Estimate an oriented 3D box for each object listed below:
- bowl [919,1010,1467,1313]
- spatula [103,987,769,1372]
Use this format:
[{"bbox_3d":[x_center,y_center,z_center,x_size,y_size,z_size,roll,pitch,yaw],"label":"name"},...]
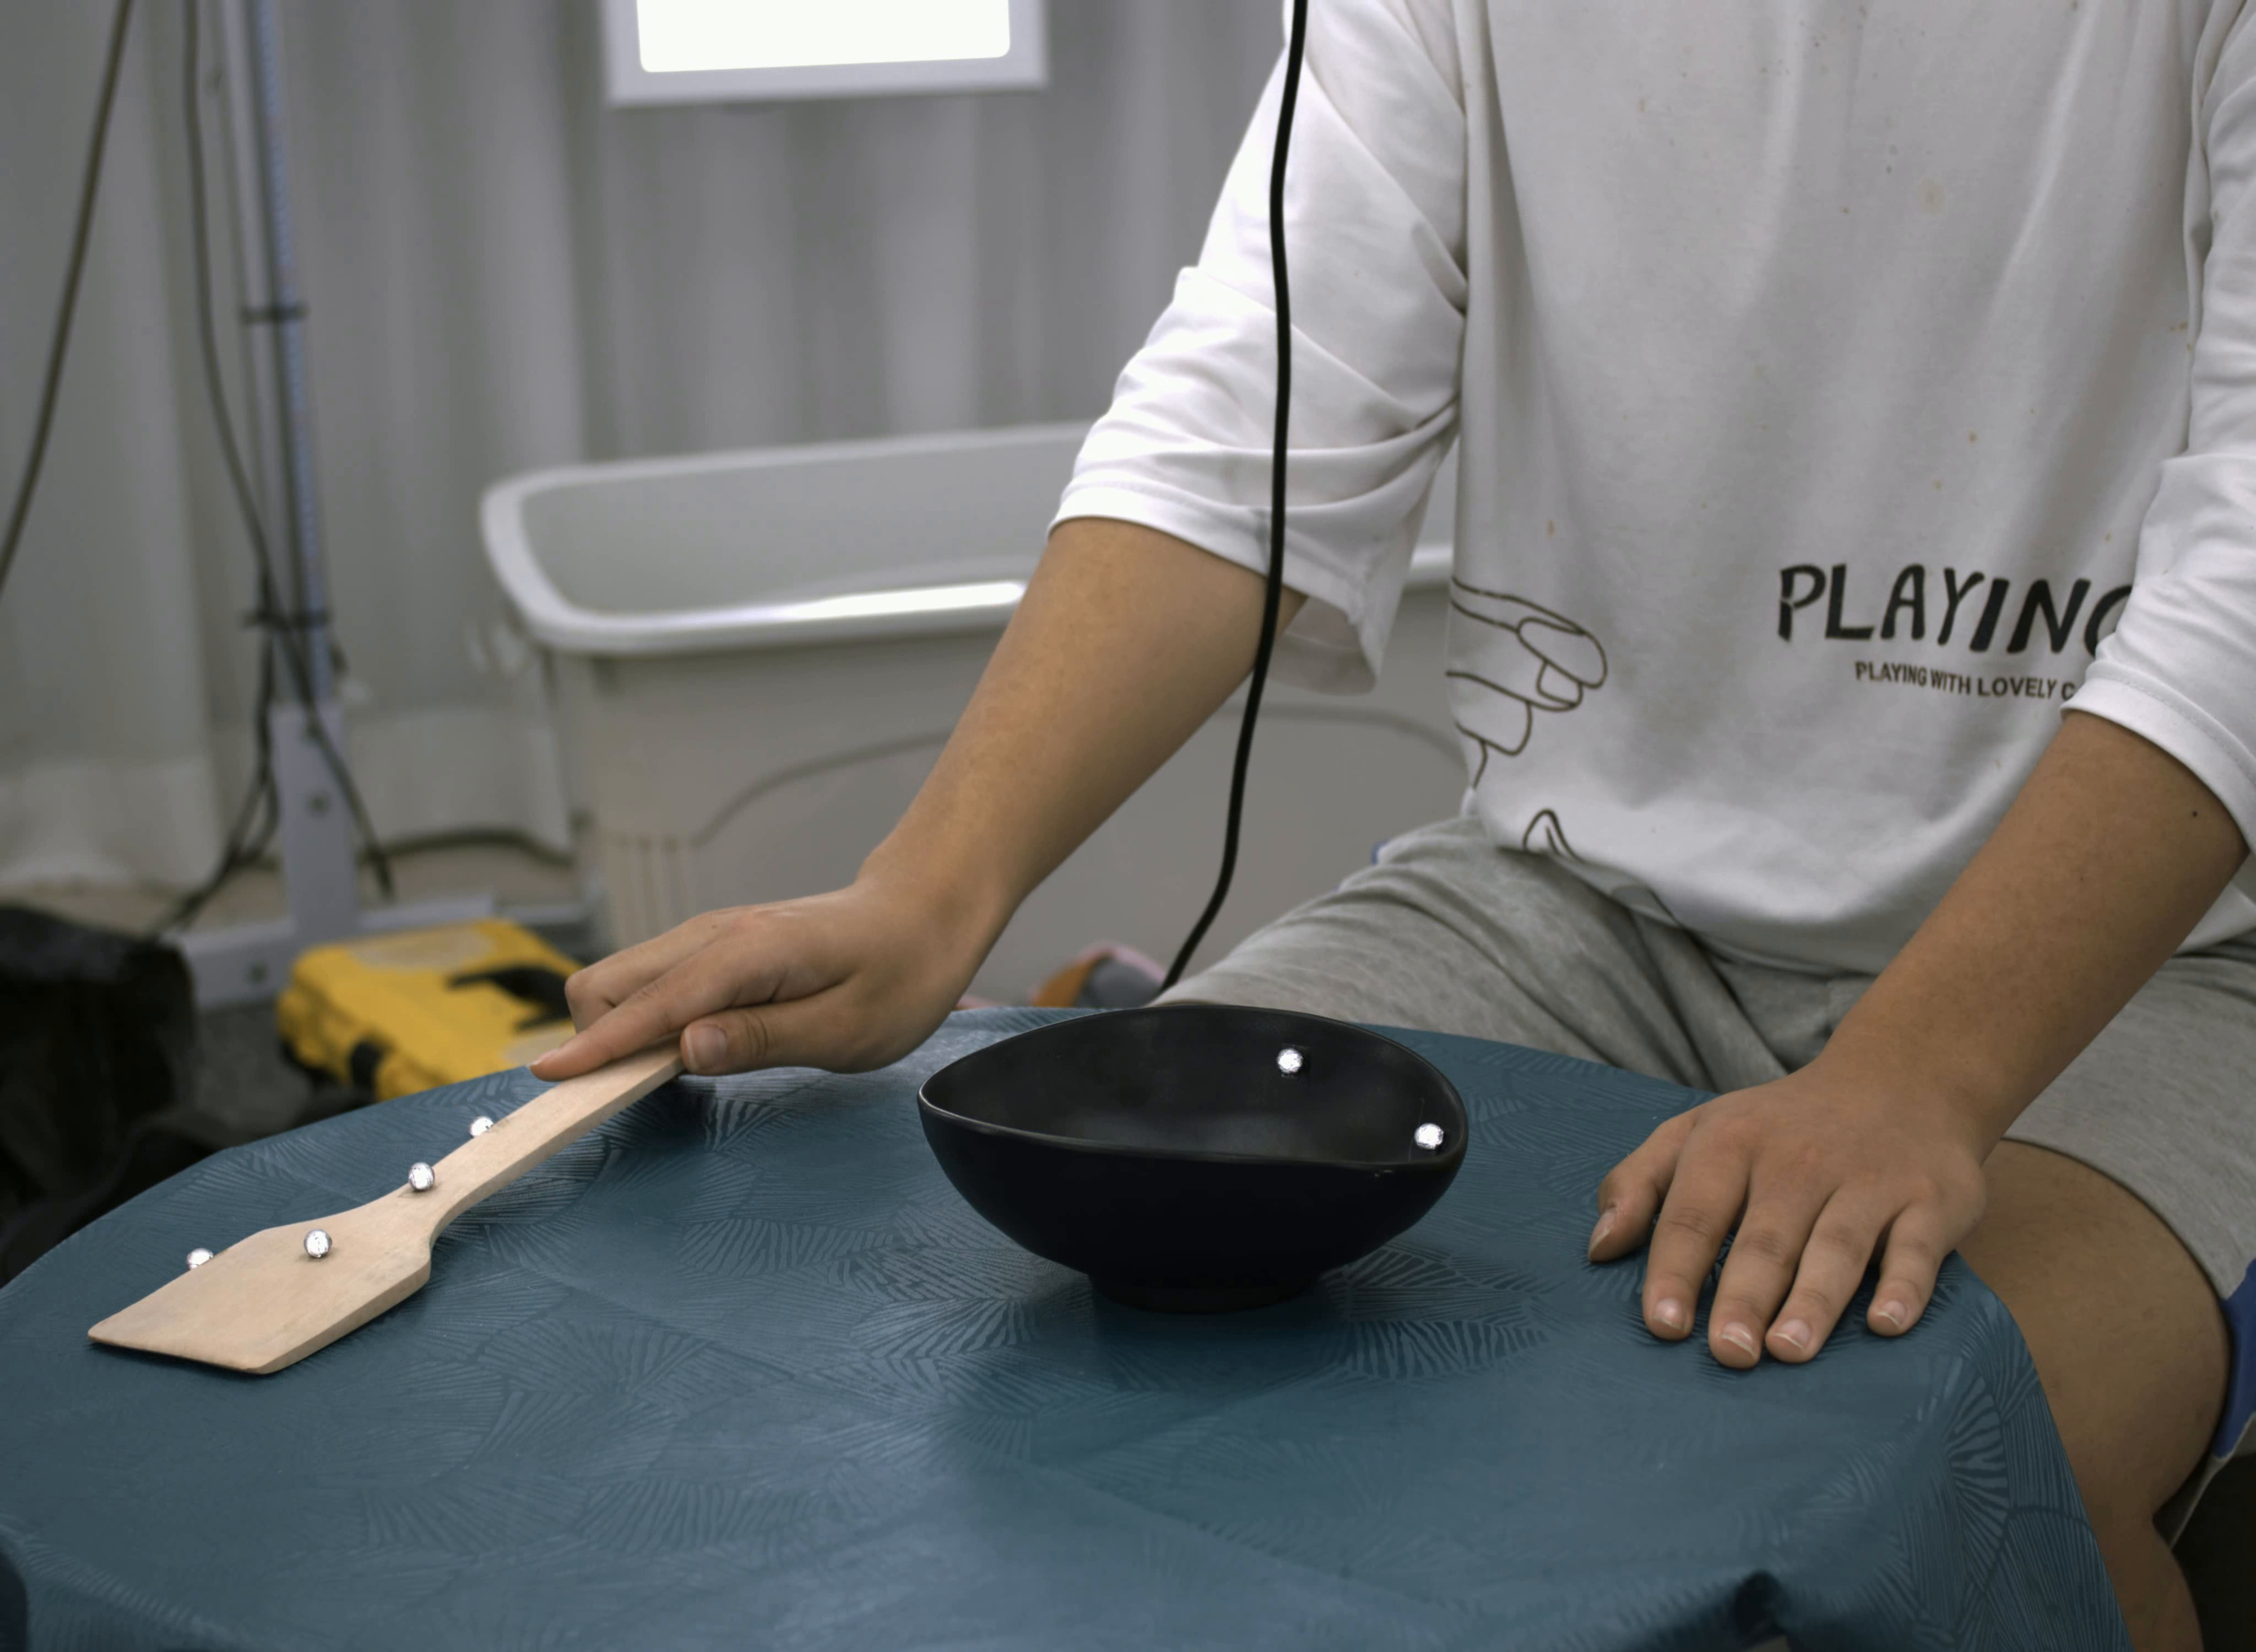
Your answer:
[{"bbox_3d":[0.020,0.104,1.632,0.170,0.066,0.137,5,16,21],"label":"bowl"},{"bbox_3d":[-0.204,0.107,1.720,0.072,0.010,0.294,5,23,31],"label":"spatula"}]
